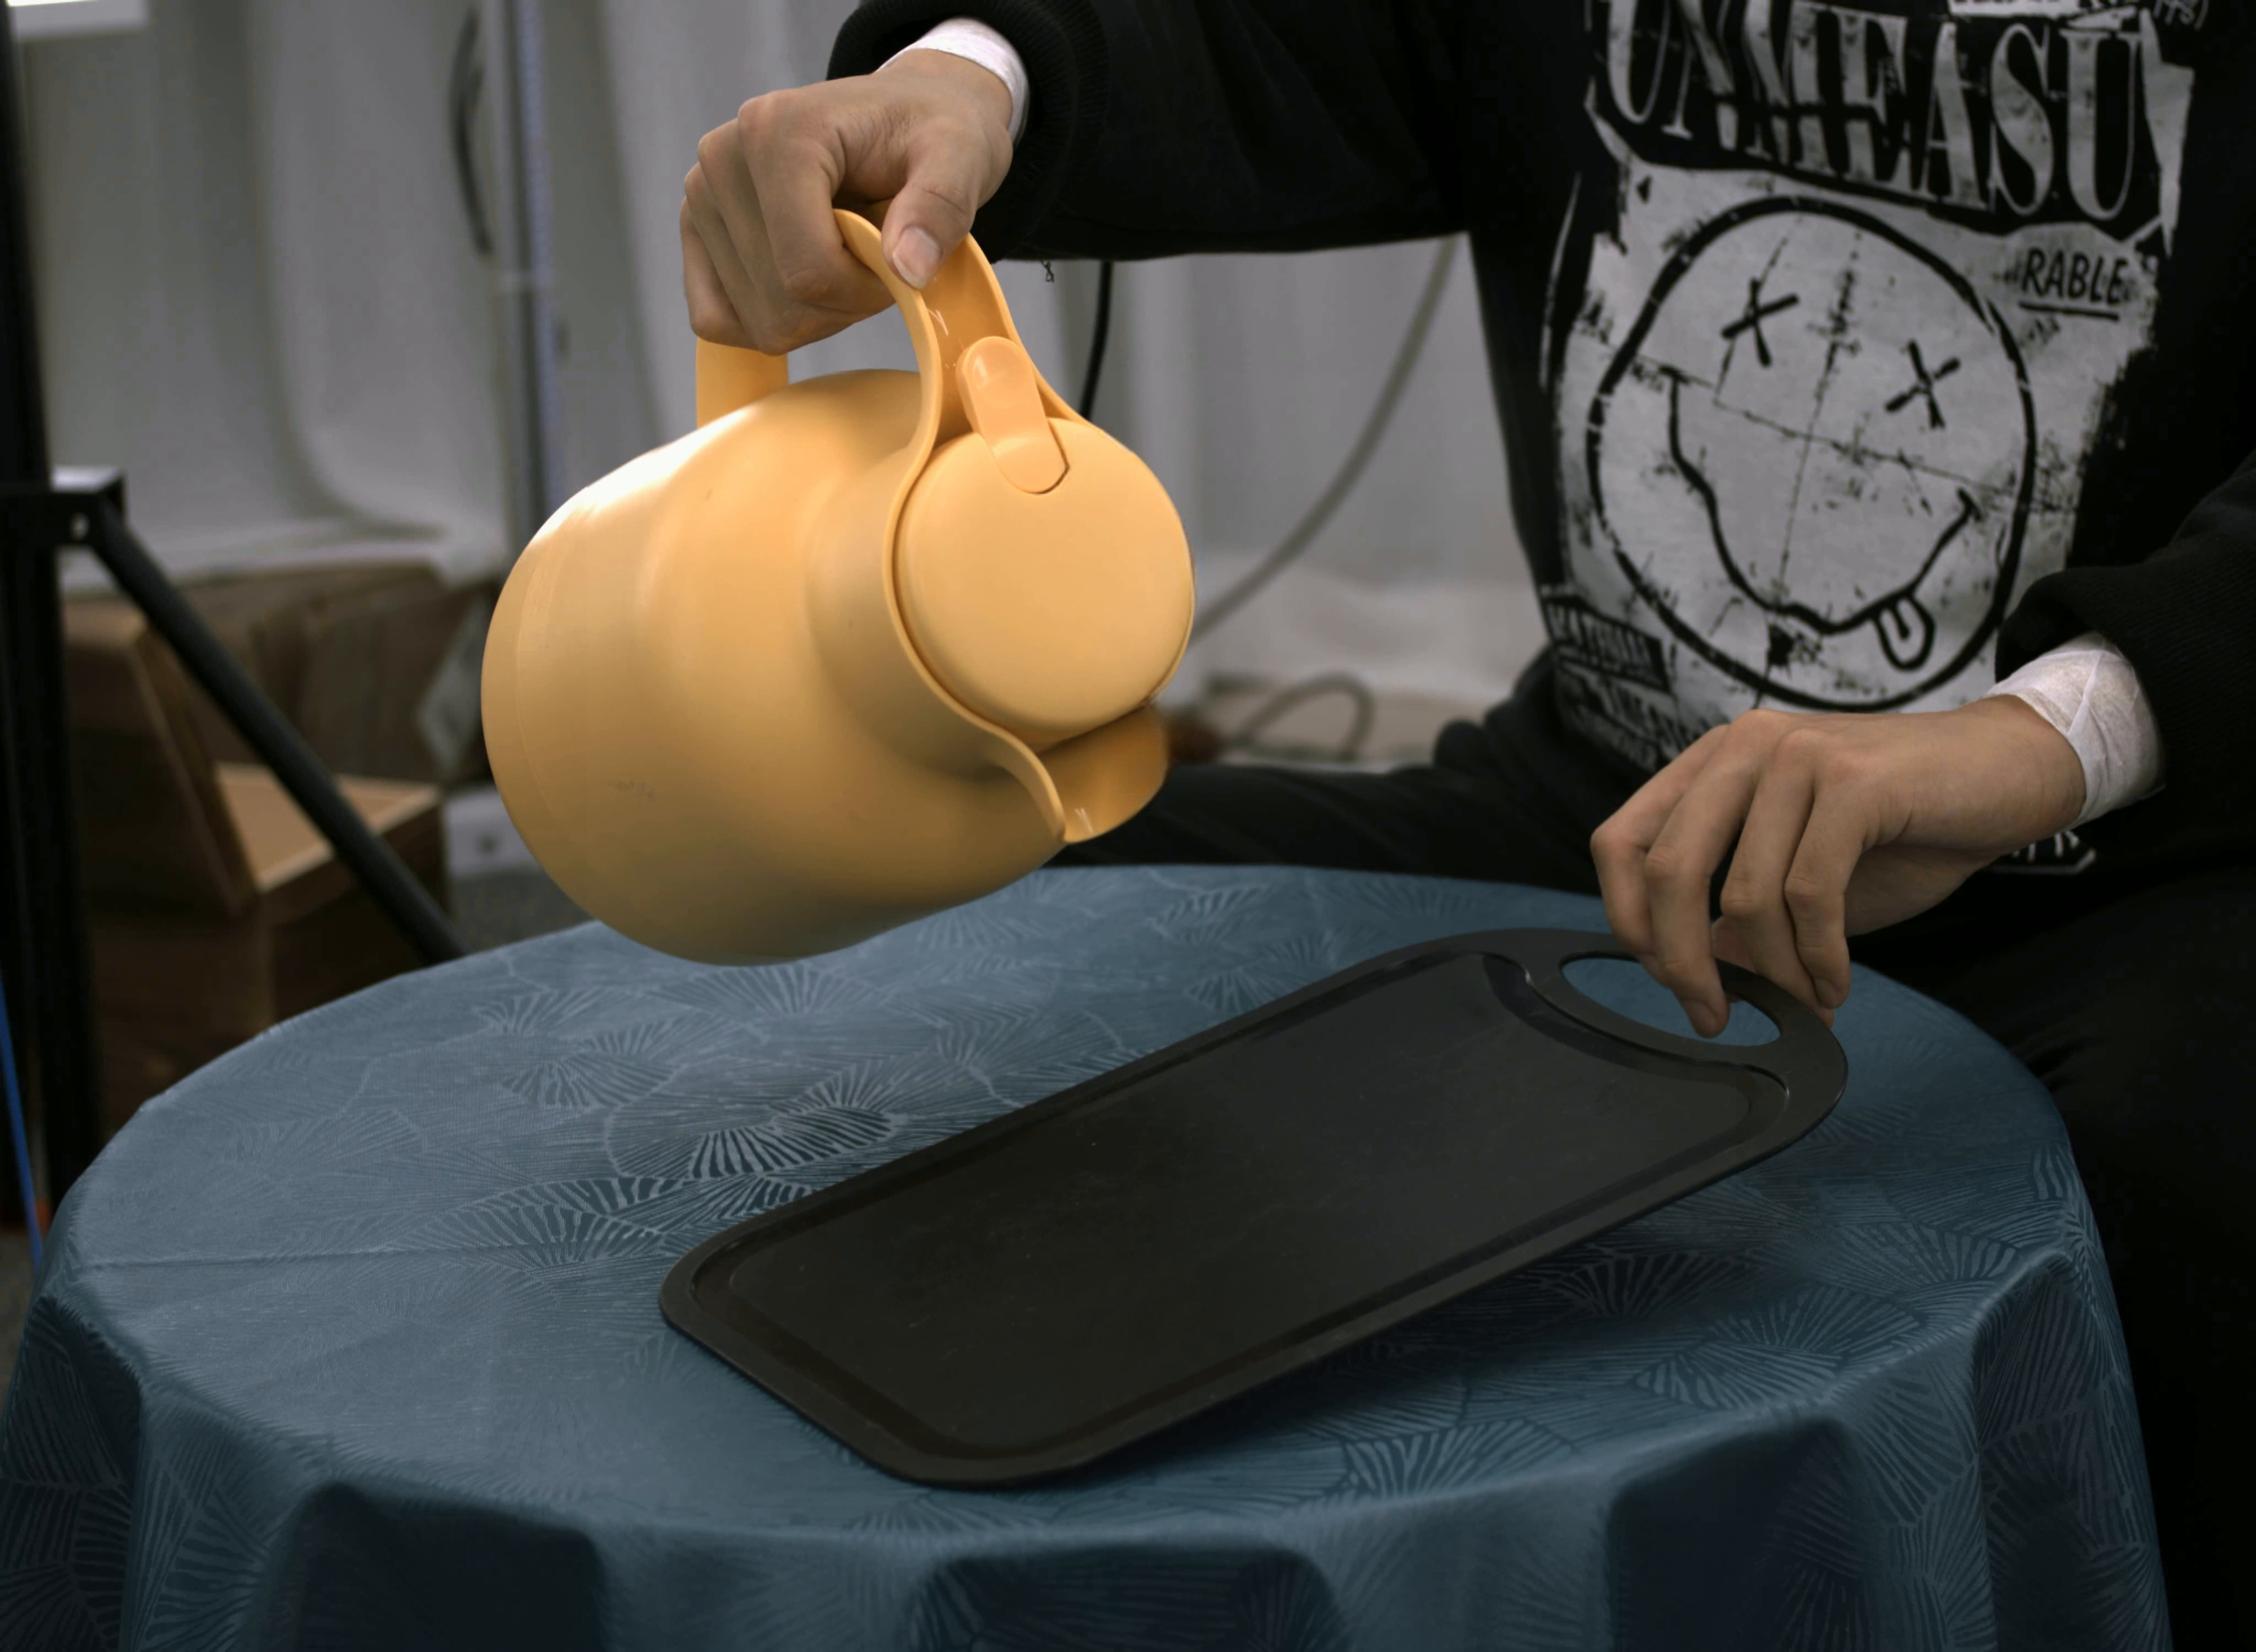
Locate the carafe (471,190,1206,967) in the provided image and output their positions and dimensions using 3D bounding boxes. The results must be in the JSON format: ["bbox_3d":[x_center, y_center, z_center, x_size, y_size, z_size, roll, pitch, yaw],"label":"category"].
[{"bbox_3d":[-0.080,-0.071,1.560,0.160,0.203,0.265,-10,-4,-32],"label":"carafe"}]

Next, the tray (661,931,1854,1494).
[{"bbox_3d":[0.041,0.097,1.475,0.320,0.010,0.215,-21,23,-23],"label":"tray"}]
